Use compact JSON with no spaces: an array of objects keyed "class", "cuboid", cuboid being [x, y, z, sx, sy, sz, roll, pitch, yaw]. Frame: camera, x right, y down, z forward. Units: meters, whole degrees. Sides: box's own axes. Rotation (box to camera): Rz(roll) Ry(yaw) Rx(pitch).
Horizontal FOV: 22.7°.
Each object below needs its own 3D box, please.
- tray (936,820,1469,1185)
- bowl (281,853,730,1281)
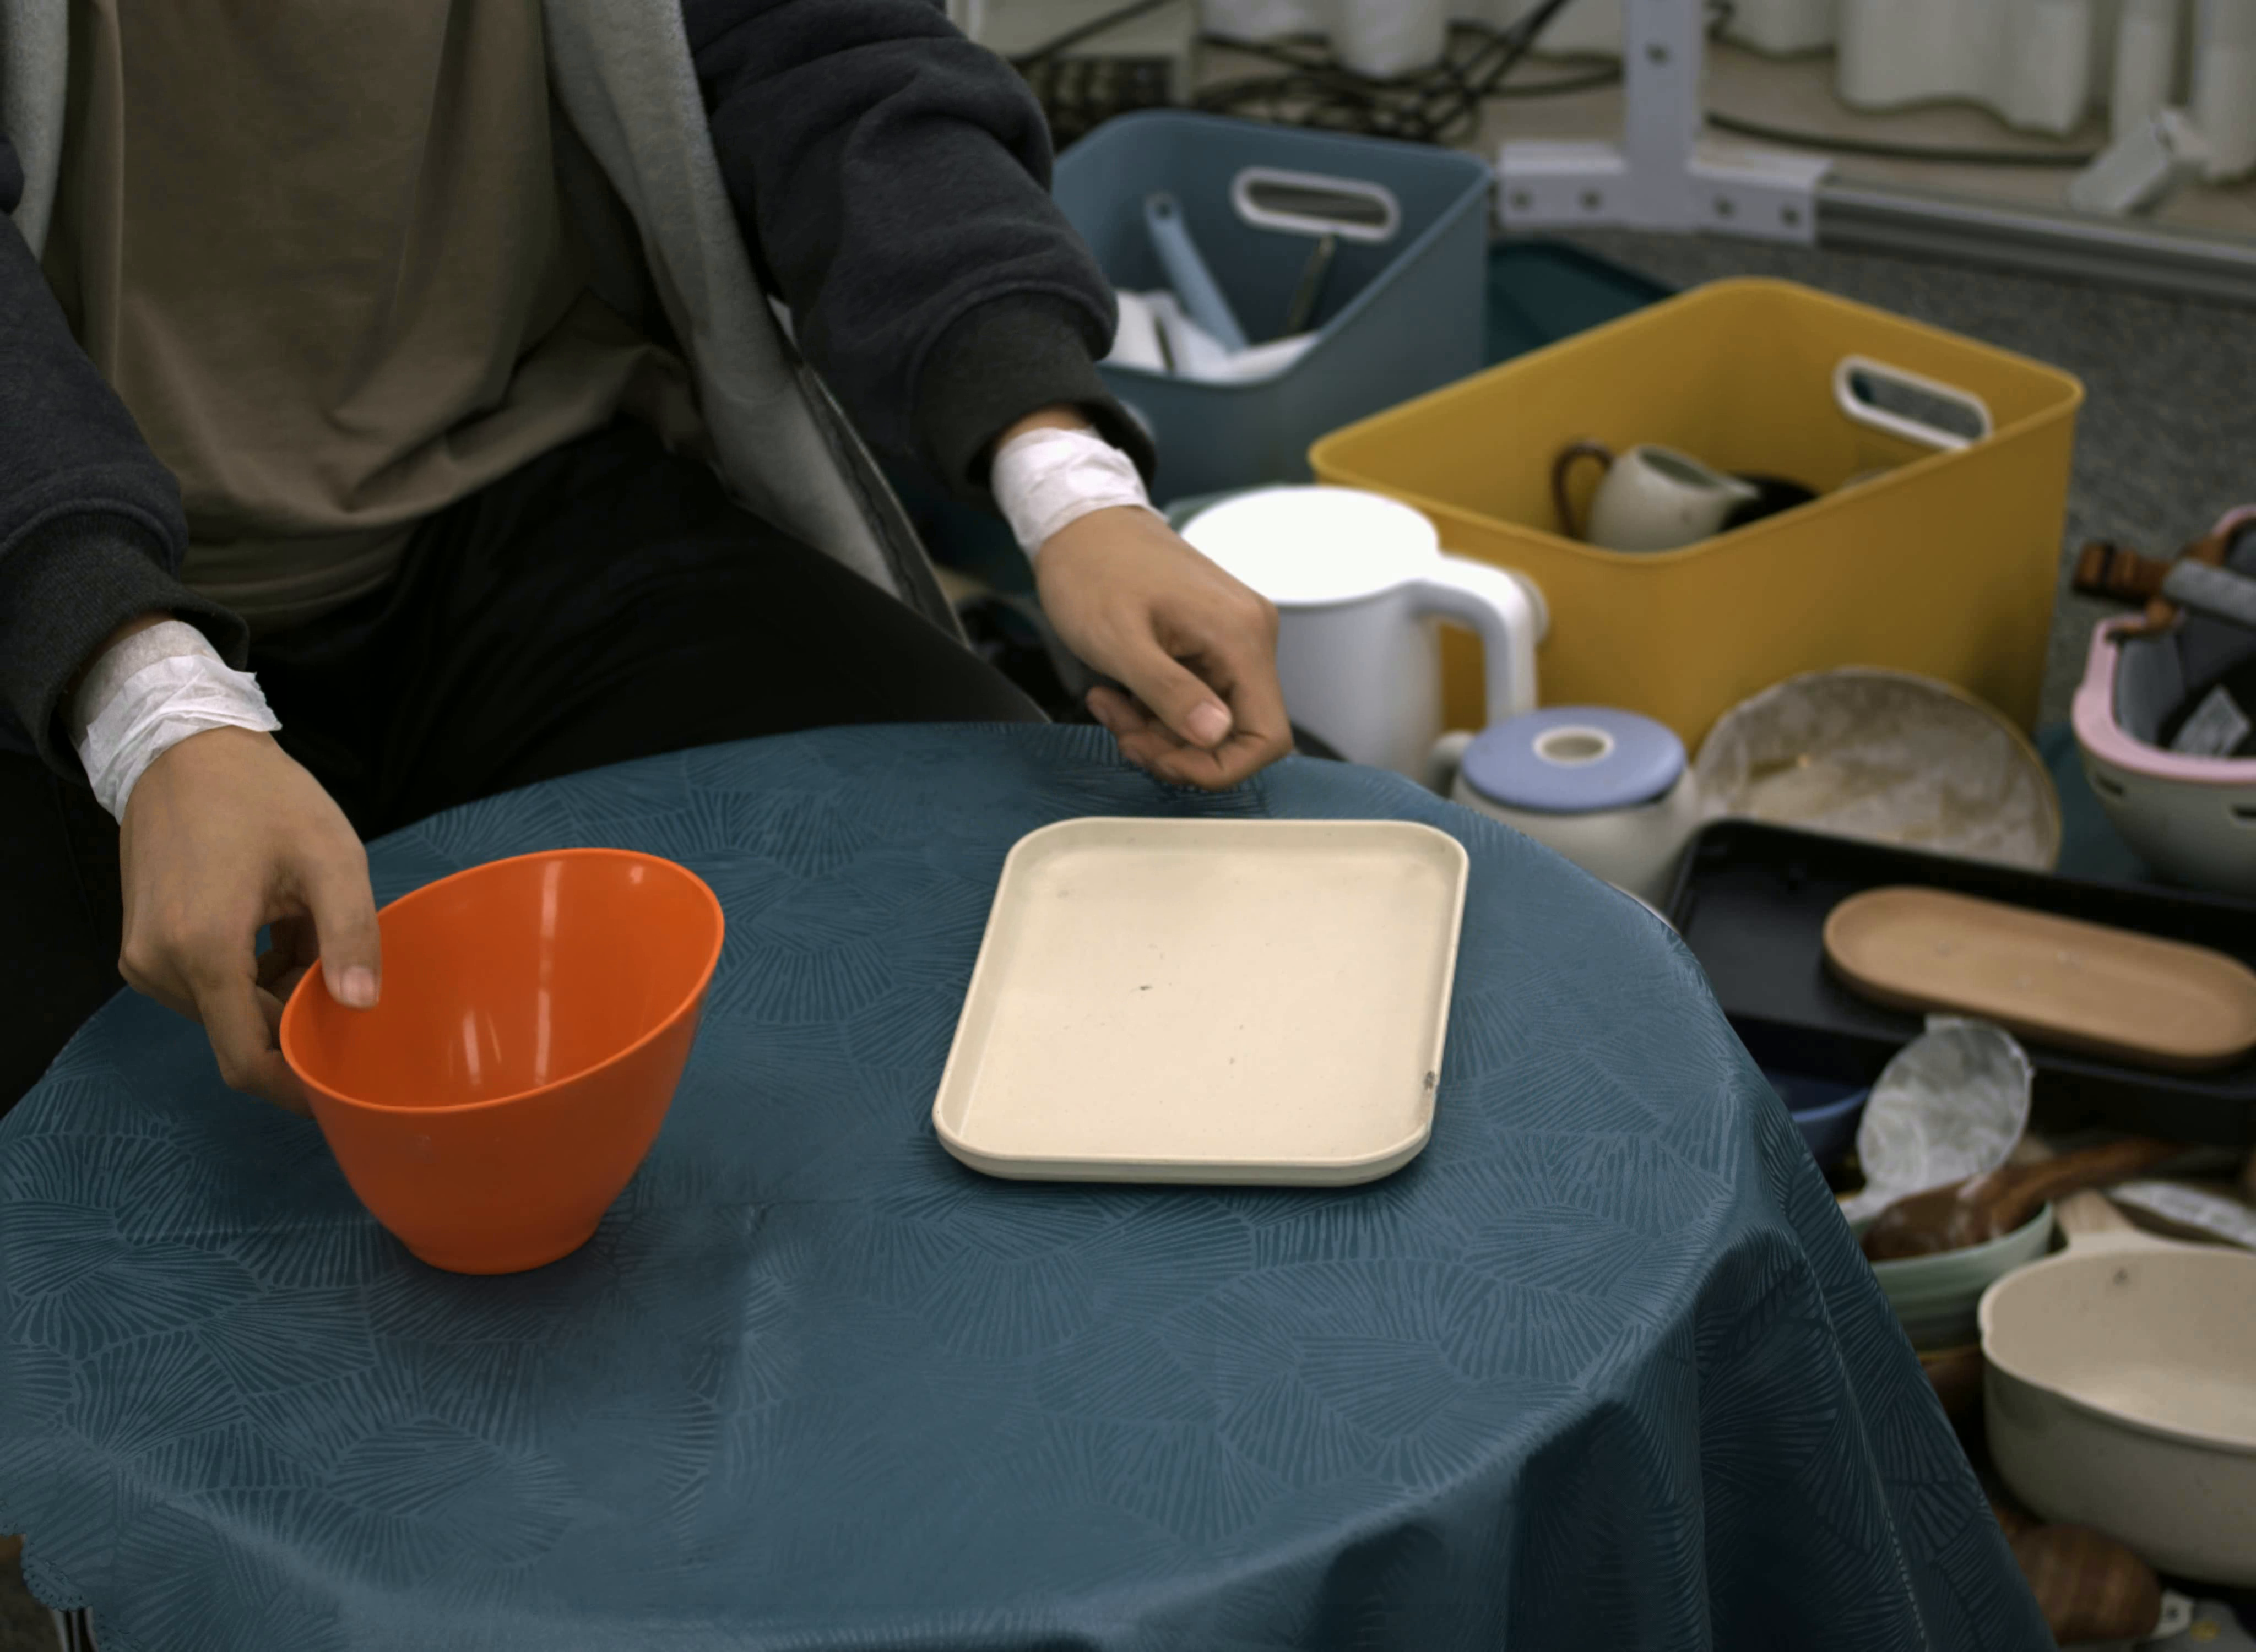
[{"class":"tray","cuboid":[0.030,0.061,1.958,0.170,0.017,0.243,0,28,7]},{"class":"bowl","cuboid":[-0.200,0.086,1.843,0.147,0.103,0.150,-1,28,1]}]
